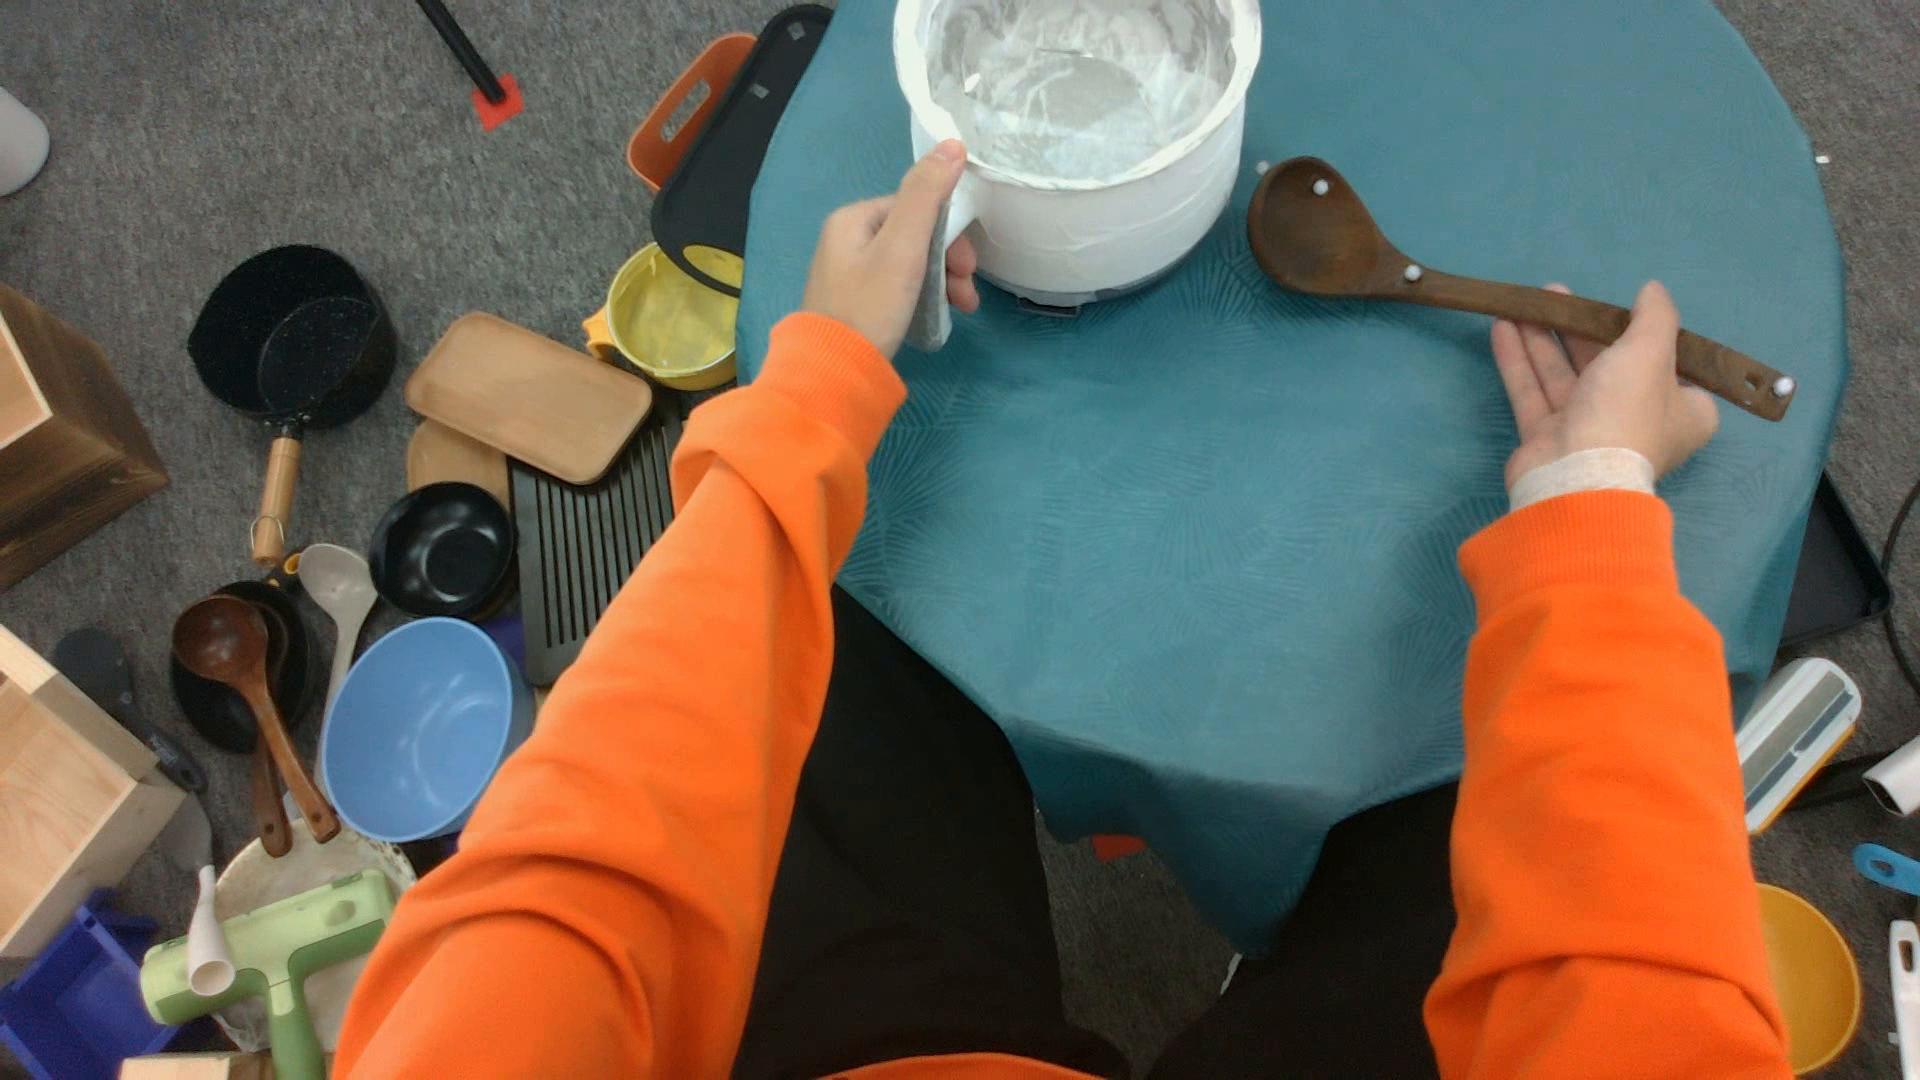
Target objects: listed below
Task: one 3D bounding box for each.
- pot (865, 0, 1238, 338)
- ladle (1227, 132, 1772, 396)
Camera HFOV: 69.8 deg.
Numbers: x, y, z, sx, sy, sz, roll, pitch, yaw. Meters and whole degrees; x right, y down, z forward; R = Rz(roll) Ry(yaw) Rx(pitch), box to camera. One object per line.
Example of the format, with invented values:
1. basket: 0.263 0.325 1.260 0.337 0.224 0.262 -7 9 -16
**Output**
1. pot: 0.033 -0.213 0.720 0.179 0.136 0.234 36 78 15
2. ladle: 0.264 -0.141 0.691 0.274 0.071 0.076 24 72 28
